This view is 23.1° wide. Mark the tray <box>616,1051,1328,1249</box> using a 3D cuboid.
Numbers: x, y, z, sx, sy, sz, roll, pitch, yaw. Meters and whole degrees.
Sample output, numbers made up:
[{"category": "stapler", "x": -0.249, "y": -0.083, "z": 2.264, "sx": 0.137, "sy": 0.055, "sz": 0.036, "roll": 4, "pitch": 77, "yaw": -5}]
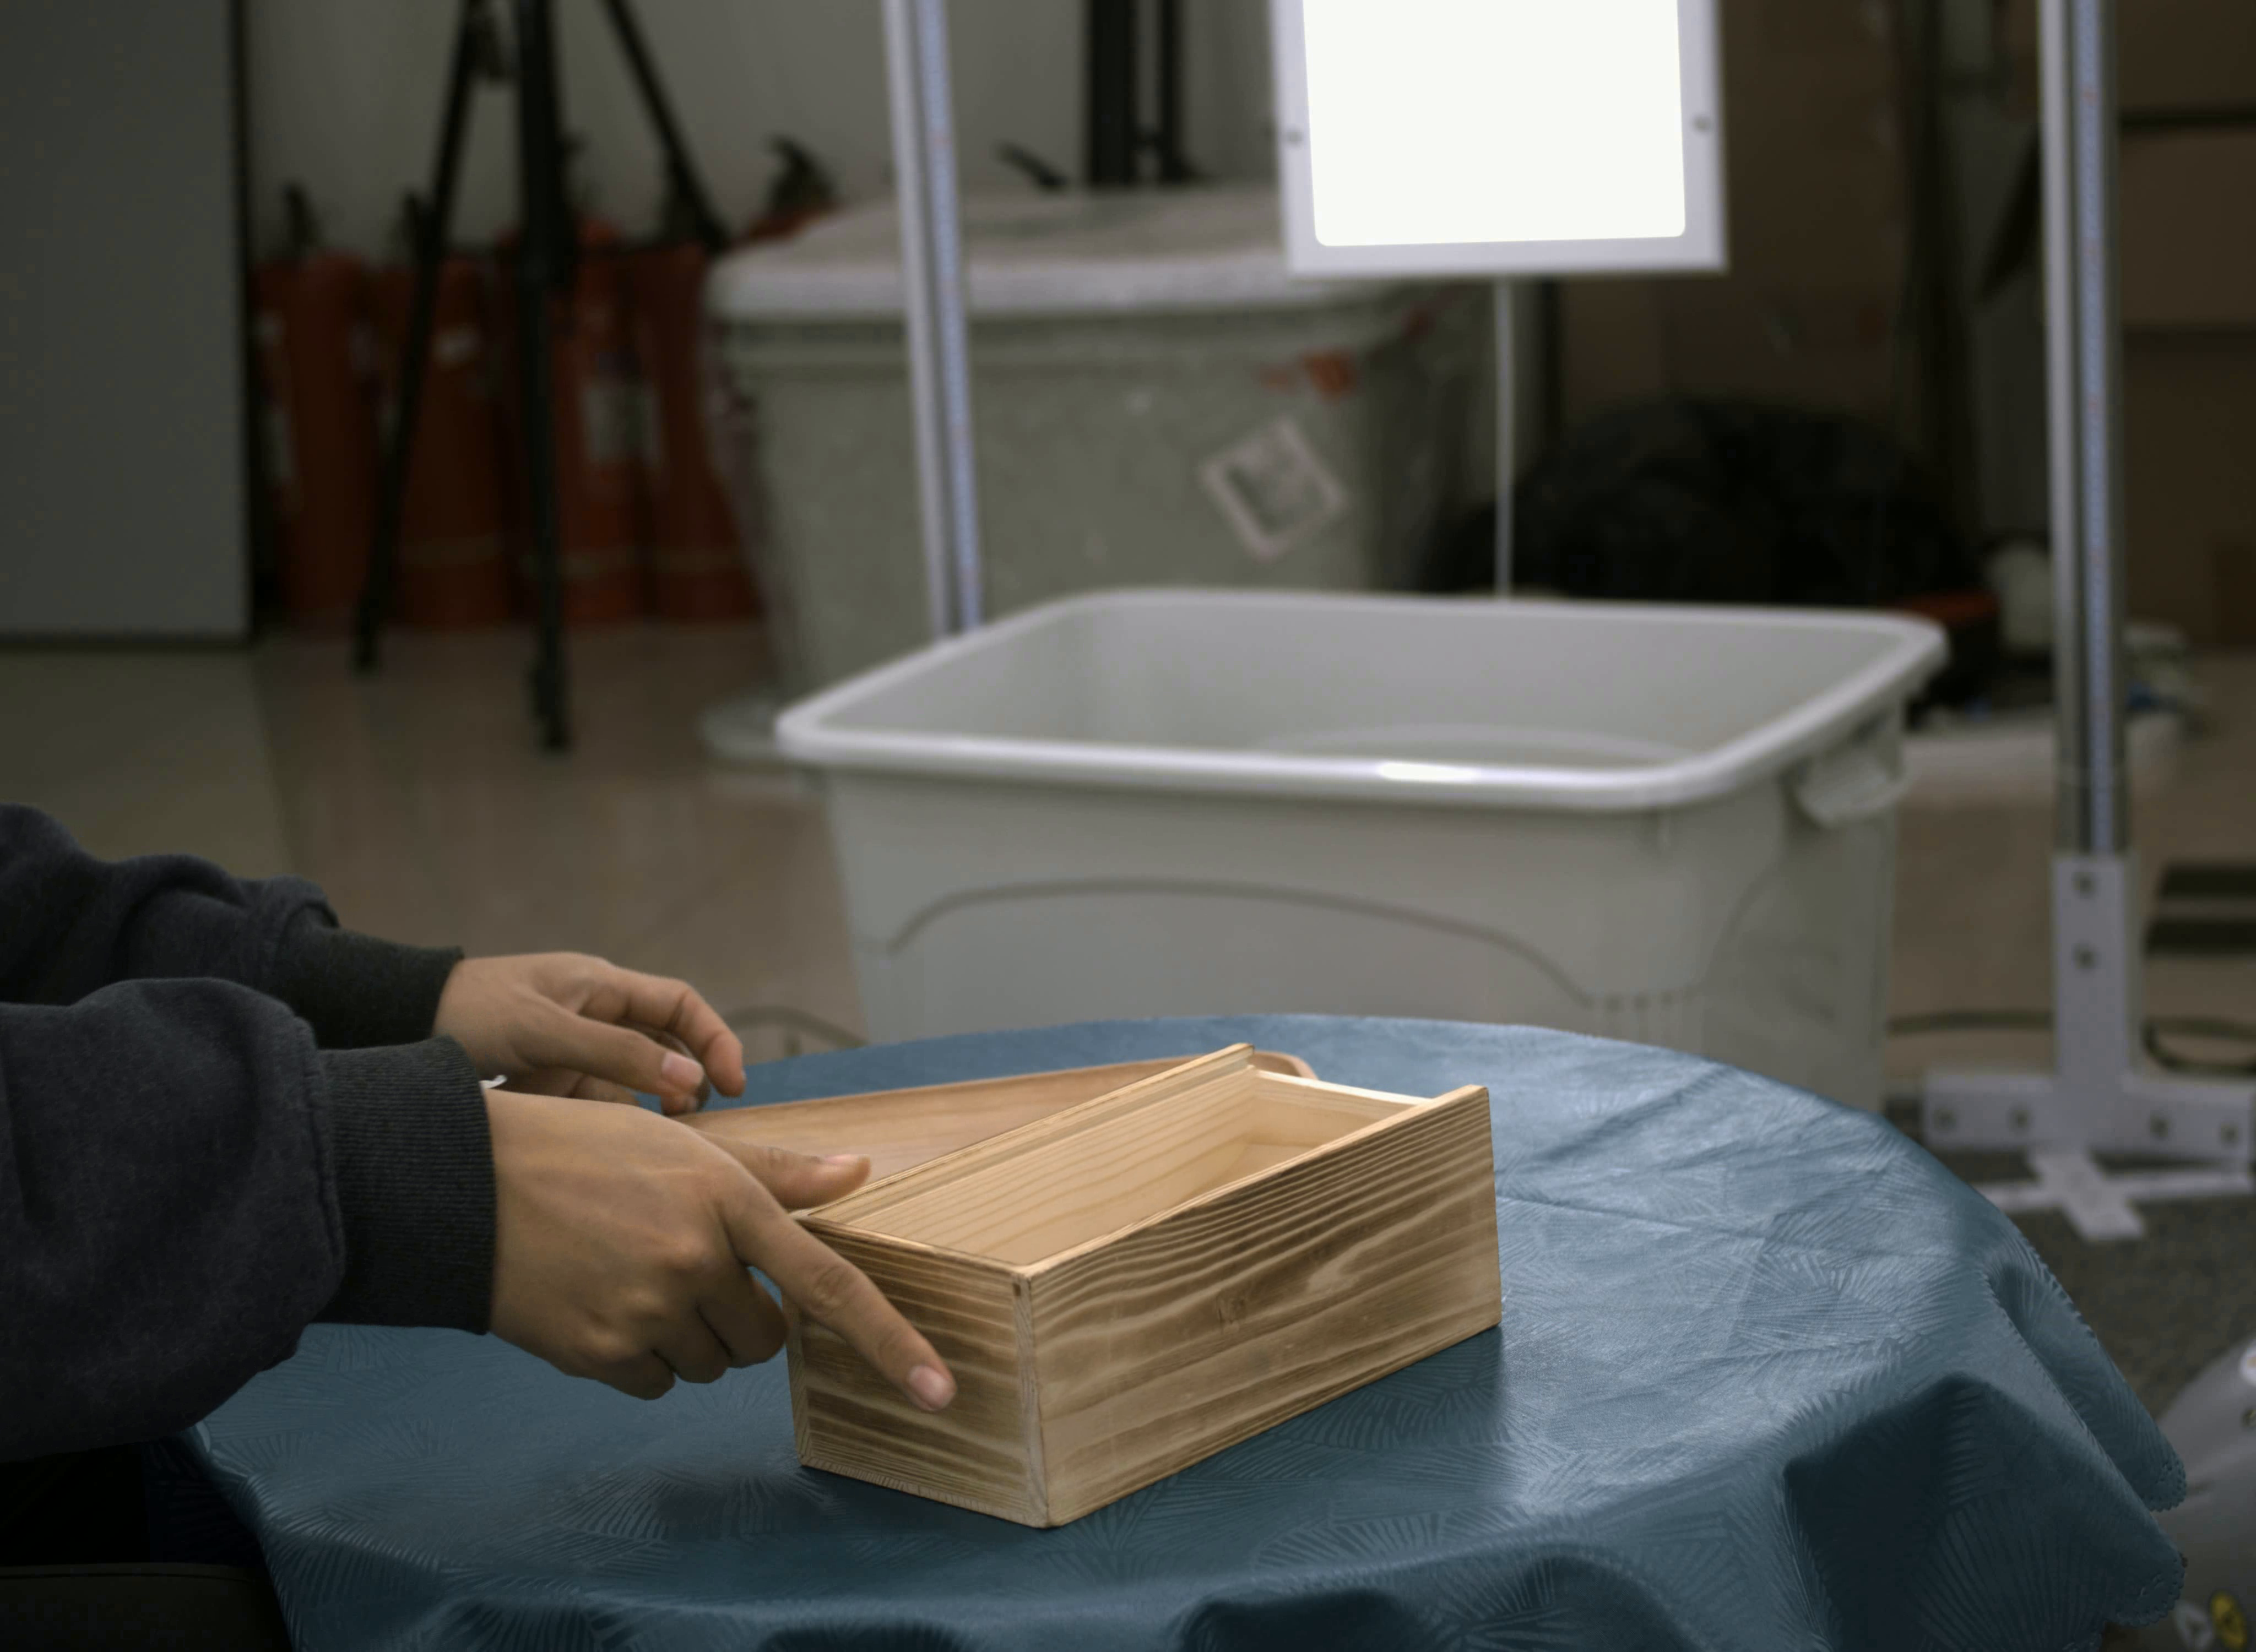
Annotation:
[{"category": "tray", "x": -0.052, "y": 0.113, "z": 1.934, "sx": 0.249, "sy": 0.023, "sz": 0.131, "roll": -7, "pitch": 11, "yaw": -5}]

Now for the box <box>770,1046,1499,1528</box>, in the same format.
[{"category": "box", "x": 0.005, "y": 0.137, "z": 1.686, "sx": 0.110, "sy": 0.080, "sz": 0.206, "roll": 8, "pitch": 19, "yaw": 43}]
